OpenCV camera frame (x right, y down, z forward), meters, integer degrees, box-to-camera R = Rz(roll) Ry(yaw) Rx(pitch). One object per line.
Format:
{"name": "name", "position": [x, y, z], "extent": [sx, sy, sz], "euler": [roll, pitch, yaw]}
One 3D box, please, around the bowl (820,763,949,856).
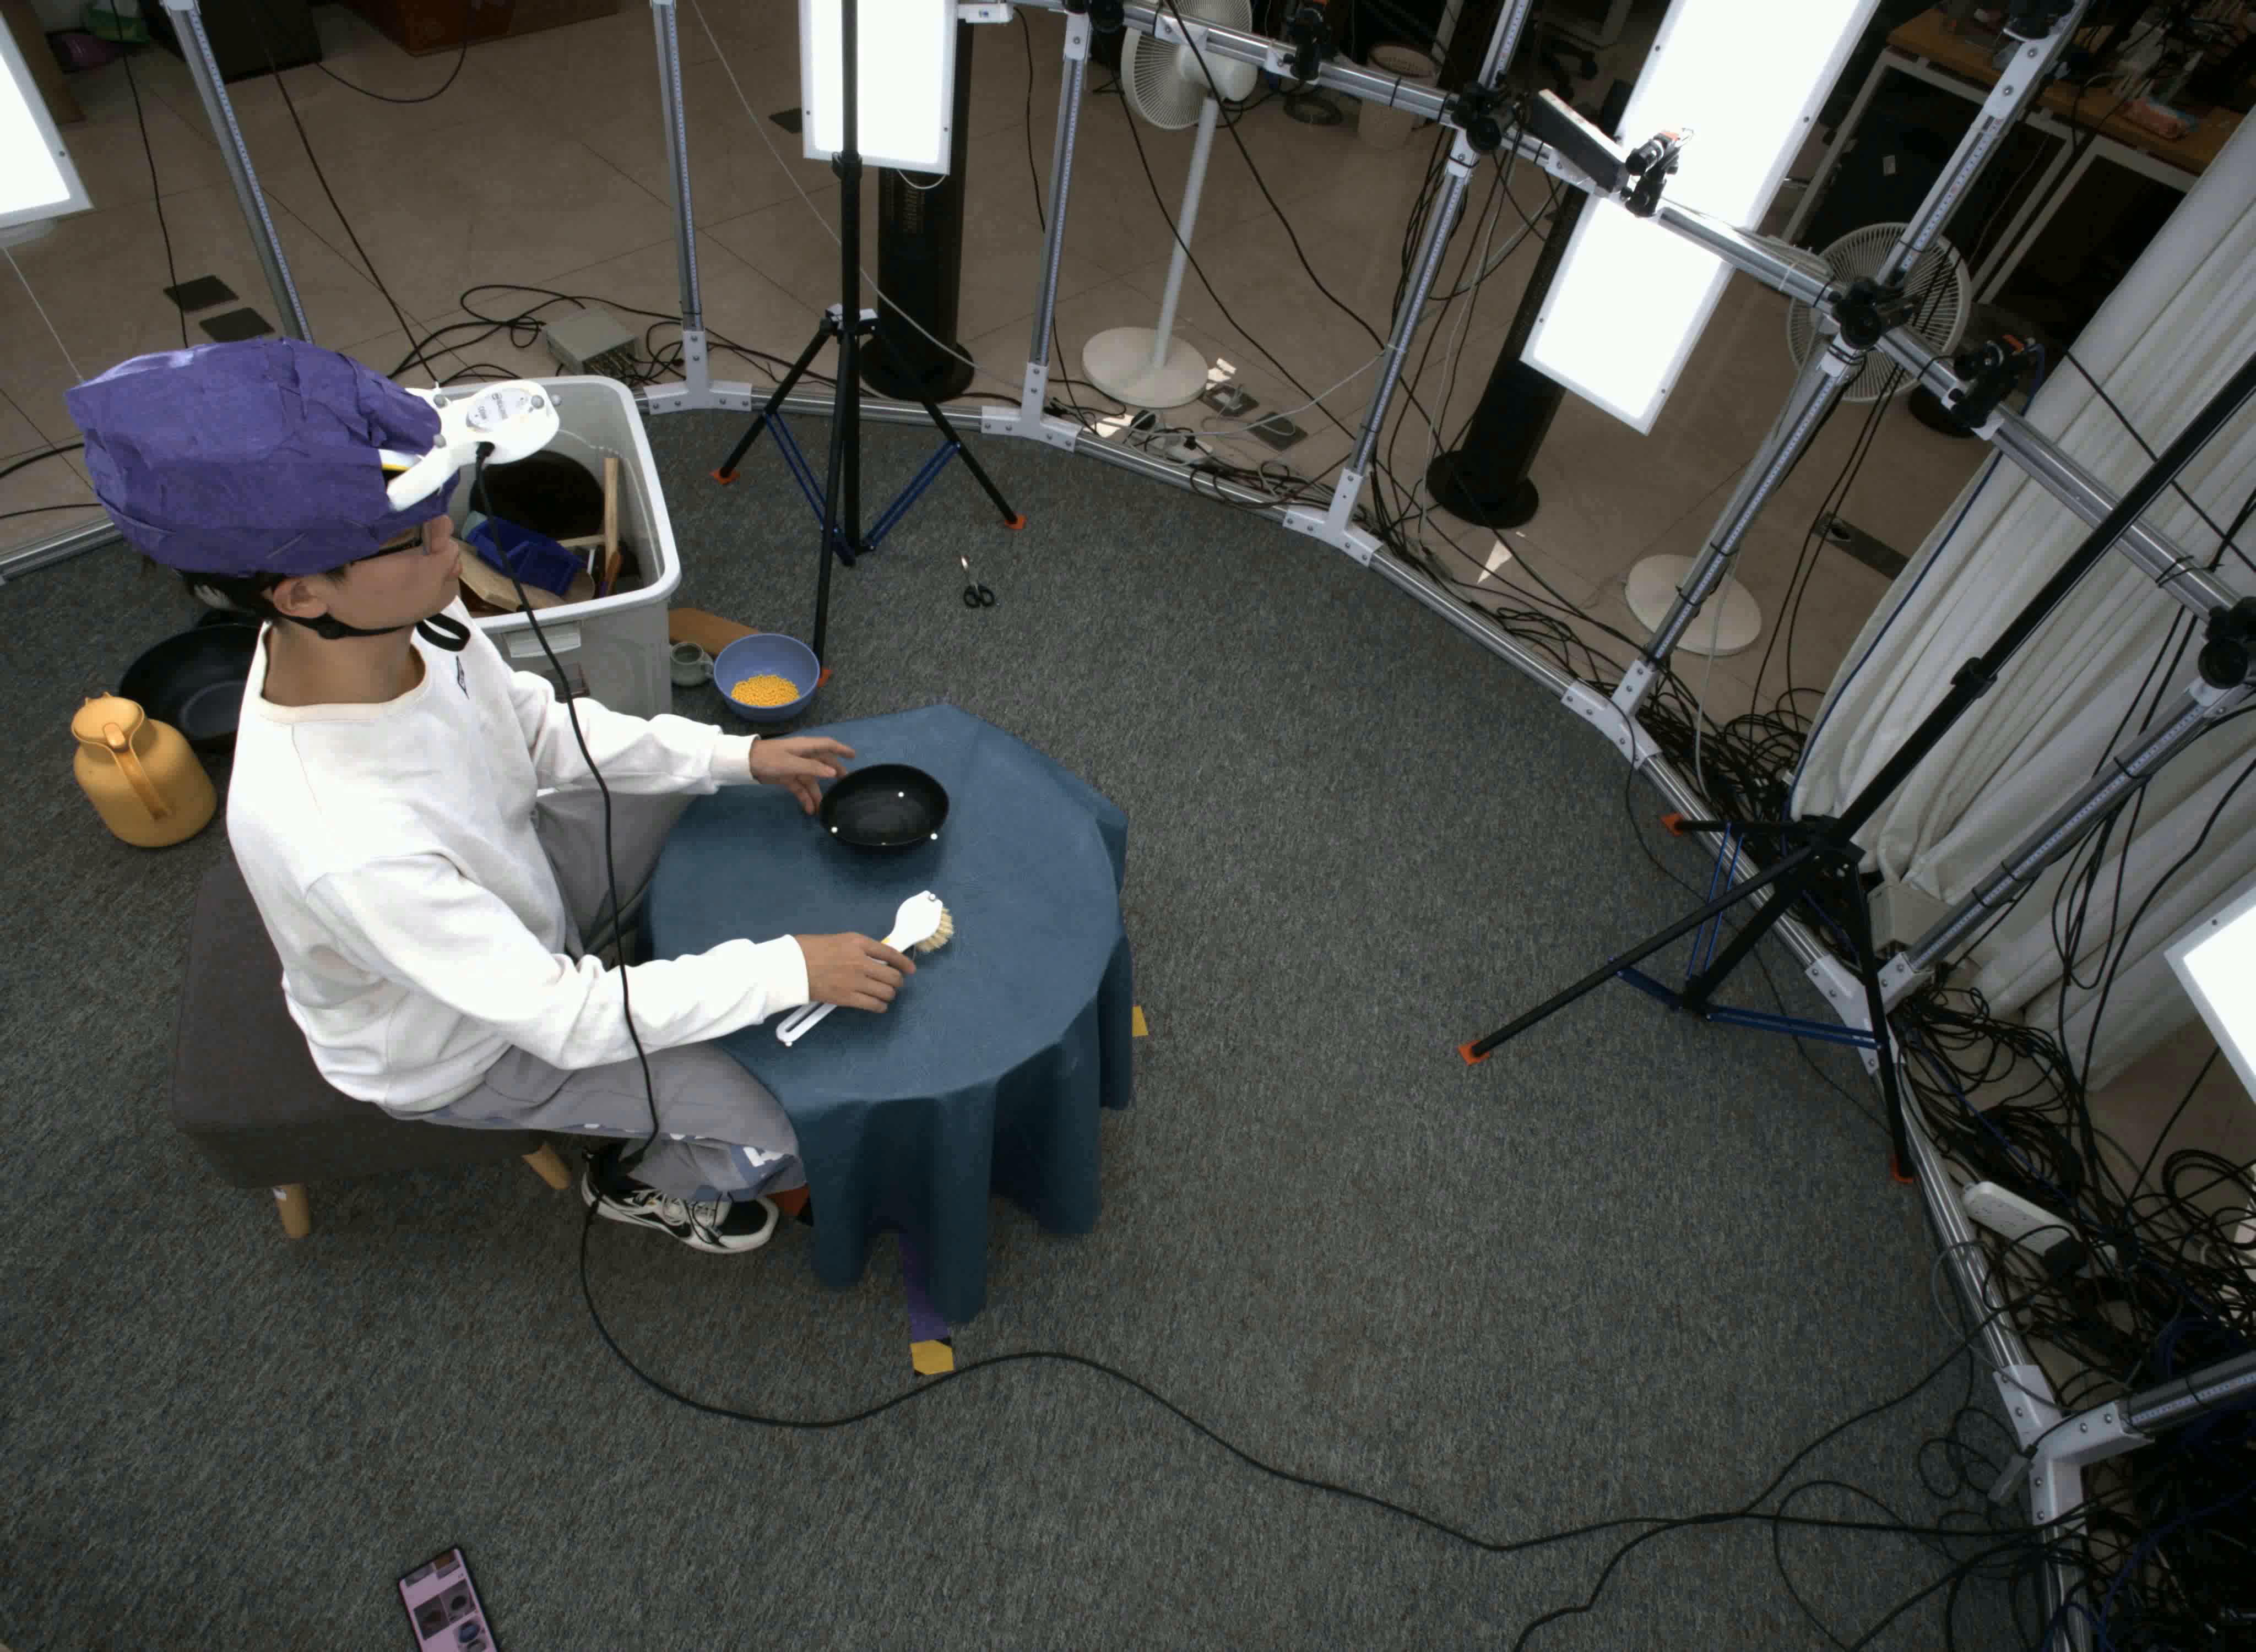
{"name": "bowl", "position": [-0.322, -0.010, 1.726], "extent": [0.170, 0.068, 0.134], "euler": [-7, 55, -14]}

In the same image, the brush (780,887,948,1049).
{"name": "brush", "position": [-0.325, 0.181, 1.607], "extent": [0.066, 0.058, 0.266], "euler": [28, 62, 27]}
